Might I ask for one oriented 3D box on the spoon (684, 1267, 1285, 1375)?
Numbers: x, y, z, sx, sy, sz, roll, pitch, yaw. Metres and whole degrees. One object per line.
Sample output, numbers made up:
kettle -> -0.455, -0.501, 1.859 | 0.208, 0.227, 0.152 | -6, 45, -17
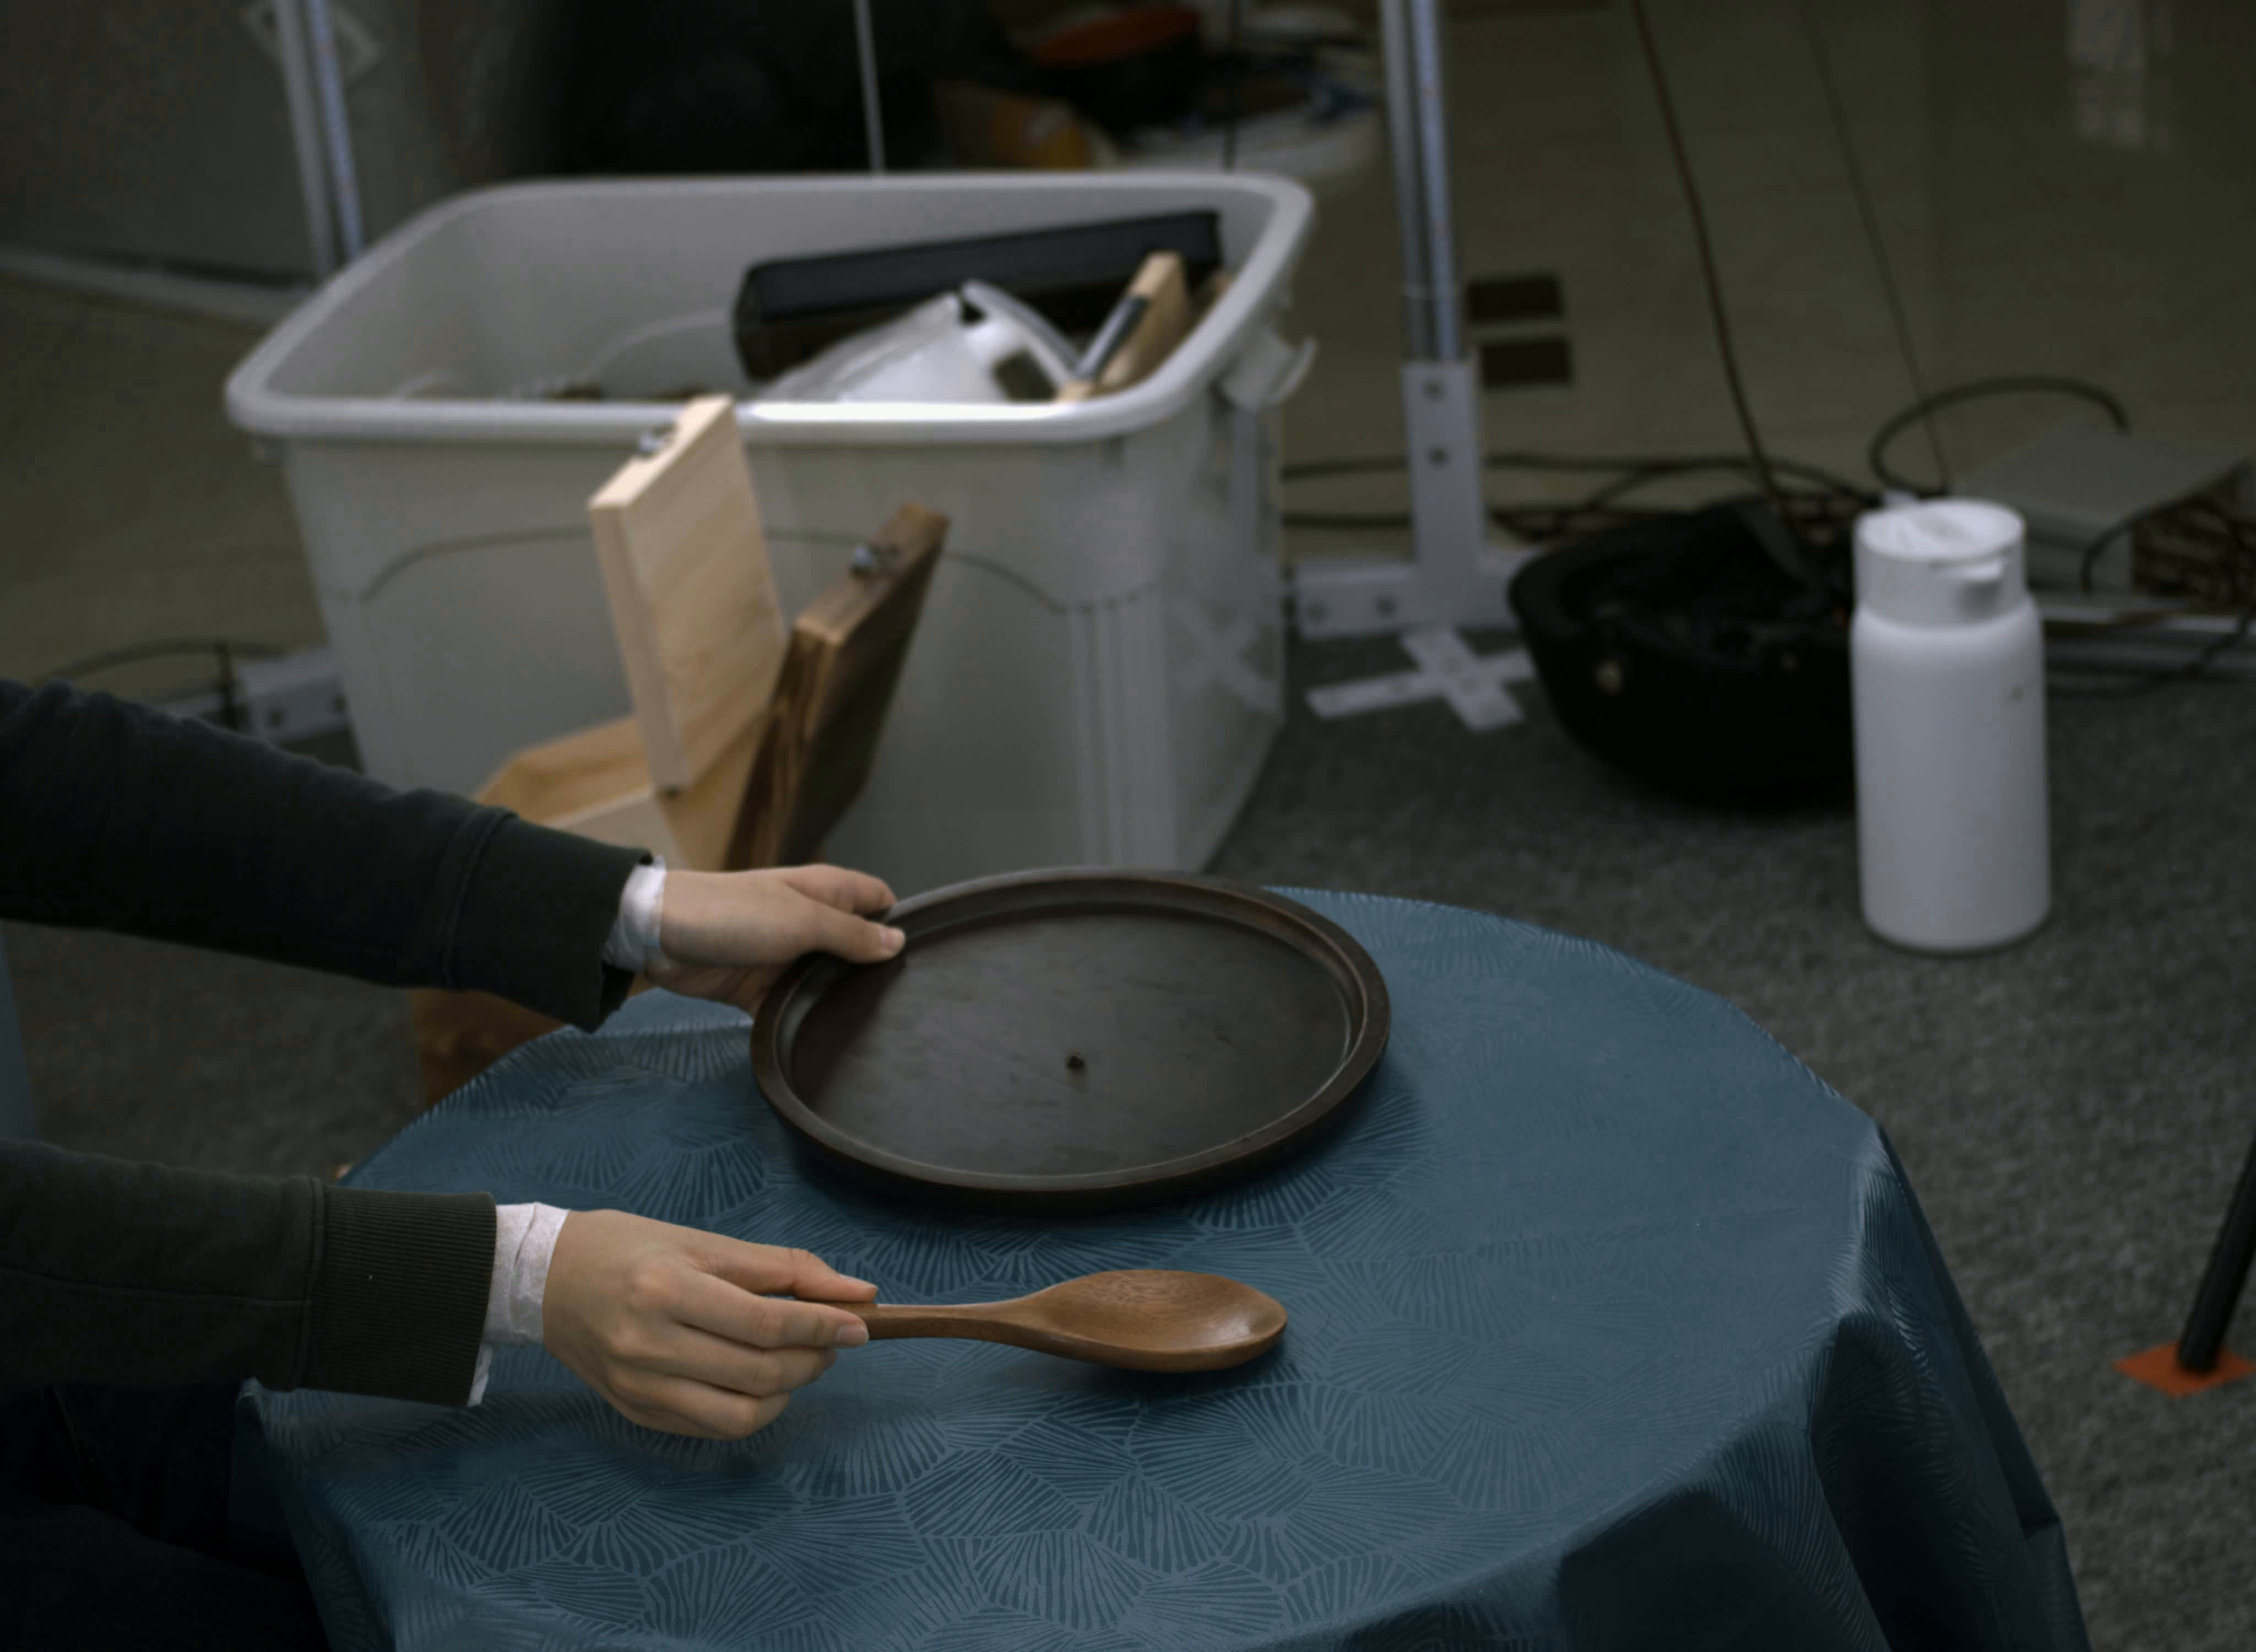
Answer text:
spoon -> -0.051, 0.178, 2.024 | 0.215, 0.017, 0.074 | 2, 20, -10

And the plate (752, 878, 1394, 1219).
plate -> -0.022, 0.085, 2.227 | 0.254, 0.029, 0.251 | -2, 28, 1
